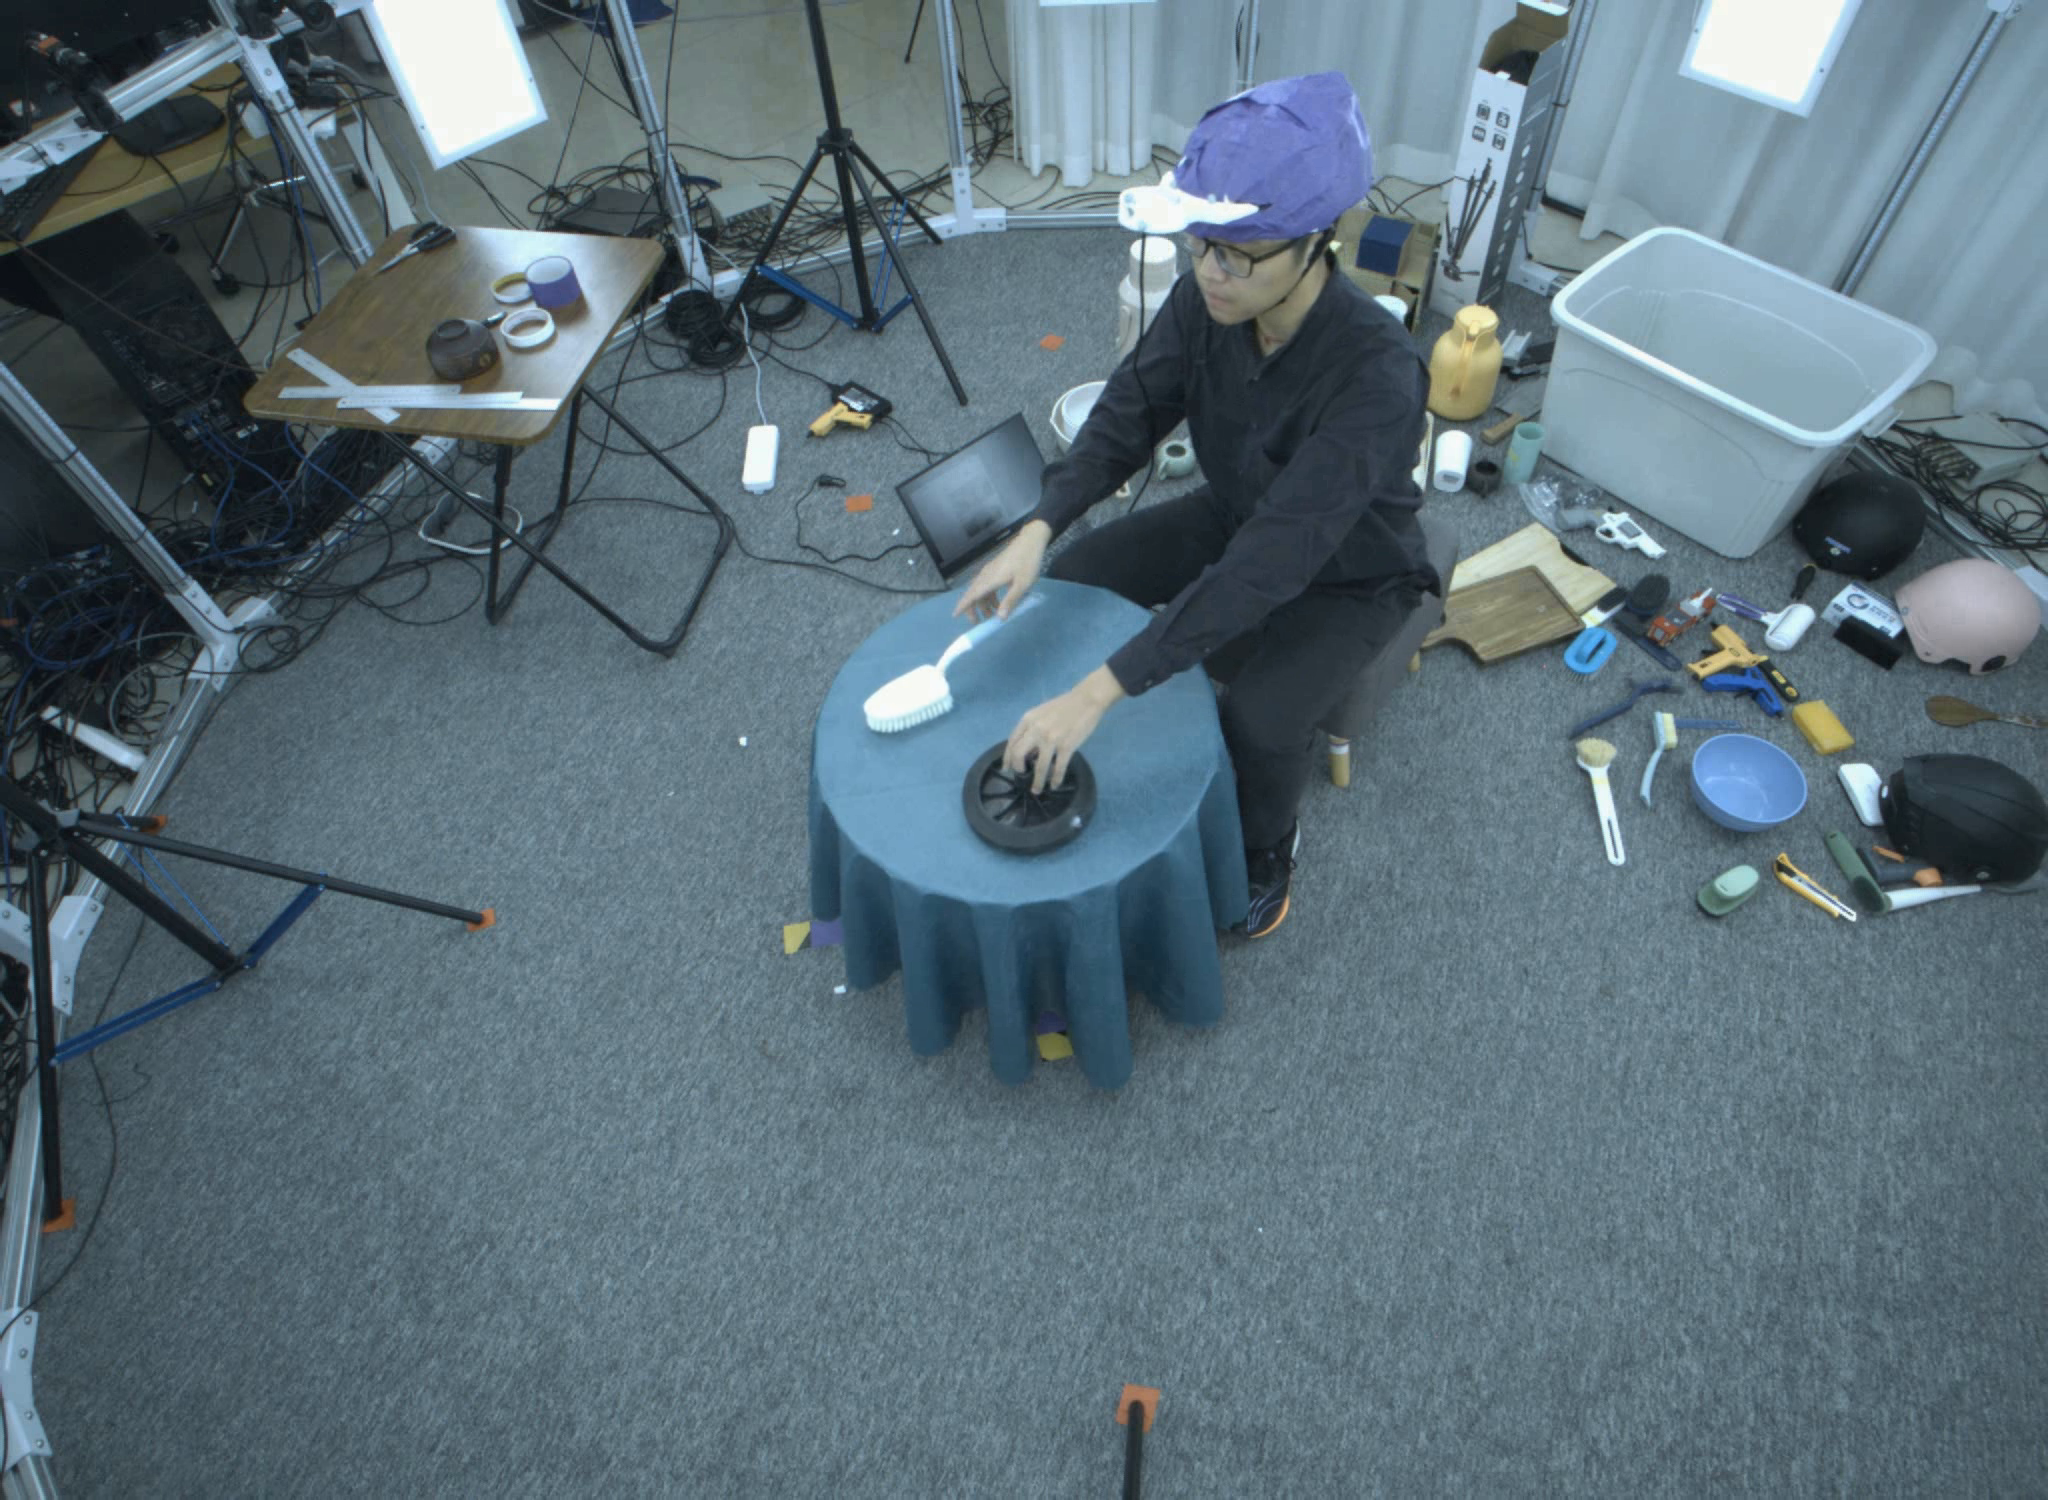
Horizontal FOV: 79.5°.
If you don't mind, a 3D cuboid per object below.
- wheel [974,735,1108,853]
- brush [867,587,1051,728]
[{"bbox_3d":[0.021,0.047,1.700,0.187,0.080,0.187,-7,53,2],"label":"wheel"},{"bbox_3d":[-0.088,-0.128,1.830,0.326,0.084,0.083,-34,95,-6],"label":"brush"}]
